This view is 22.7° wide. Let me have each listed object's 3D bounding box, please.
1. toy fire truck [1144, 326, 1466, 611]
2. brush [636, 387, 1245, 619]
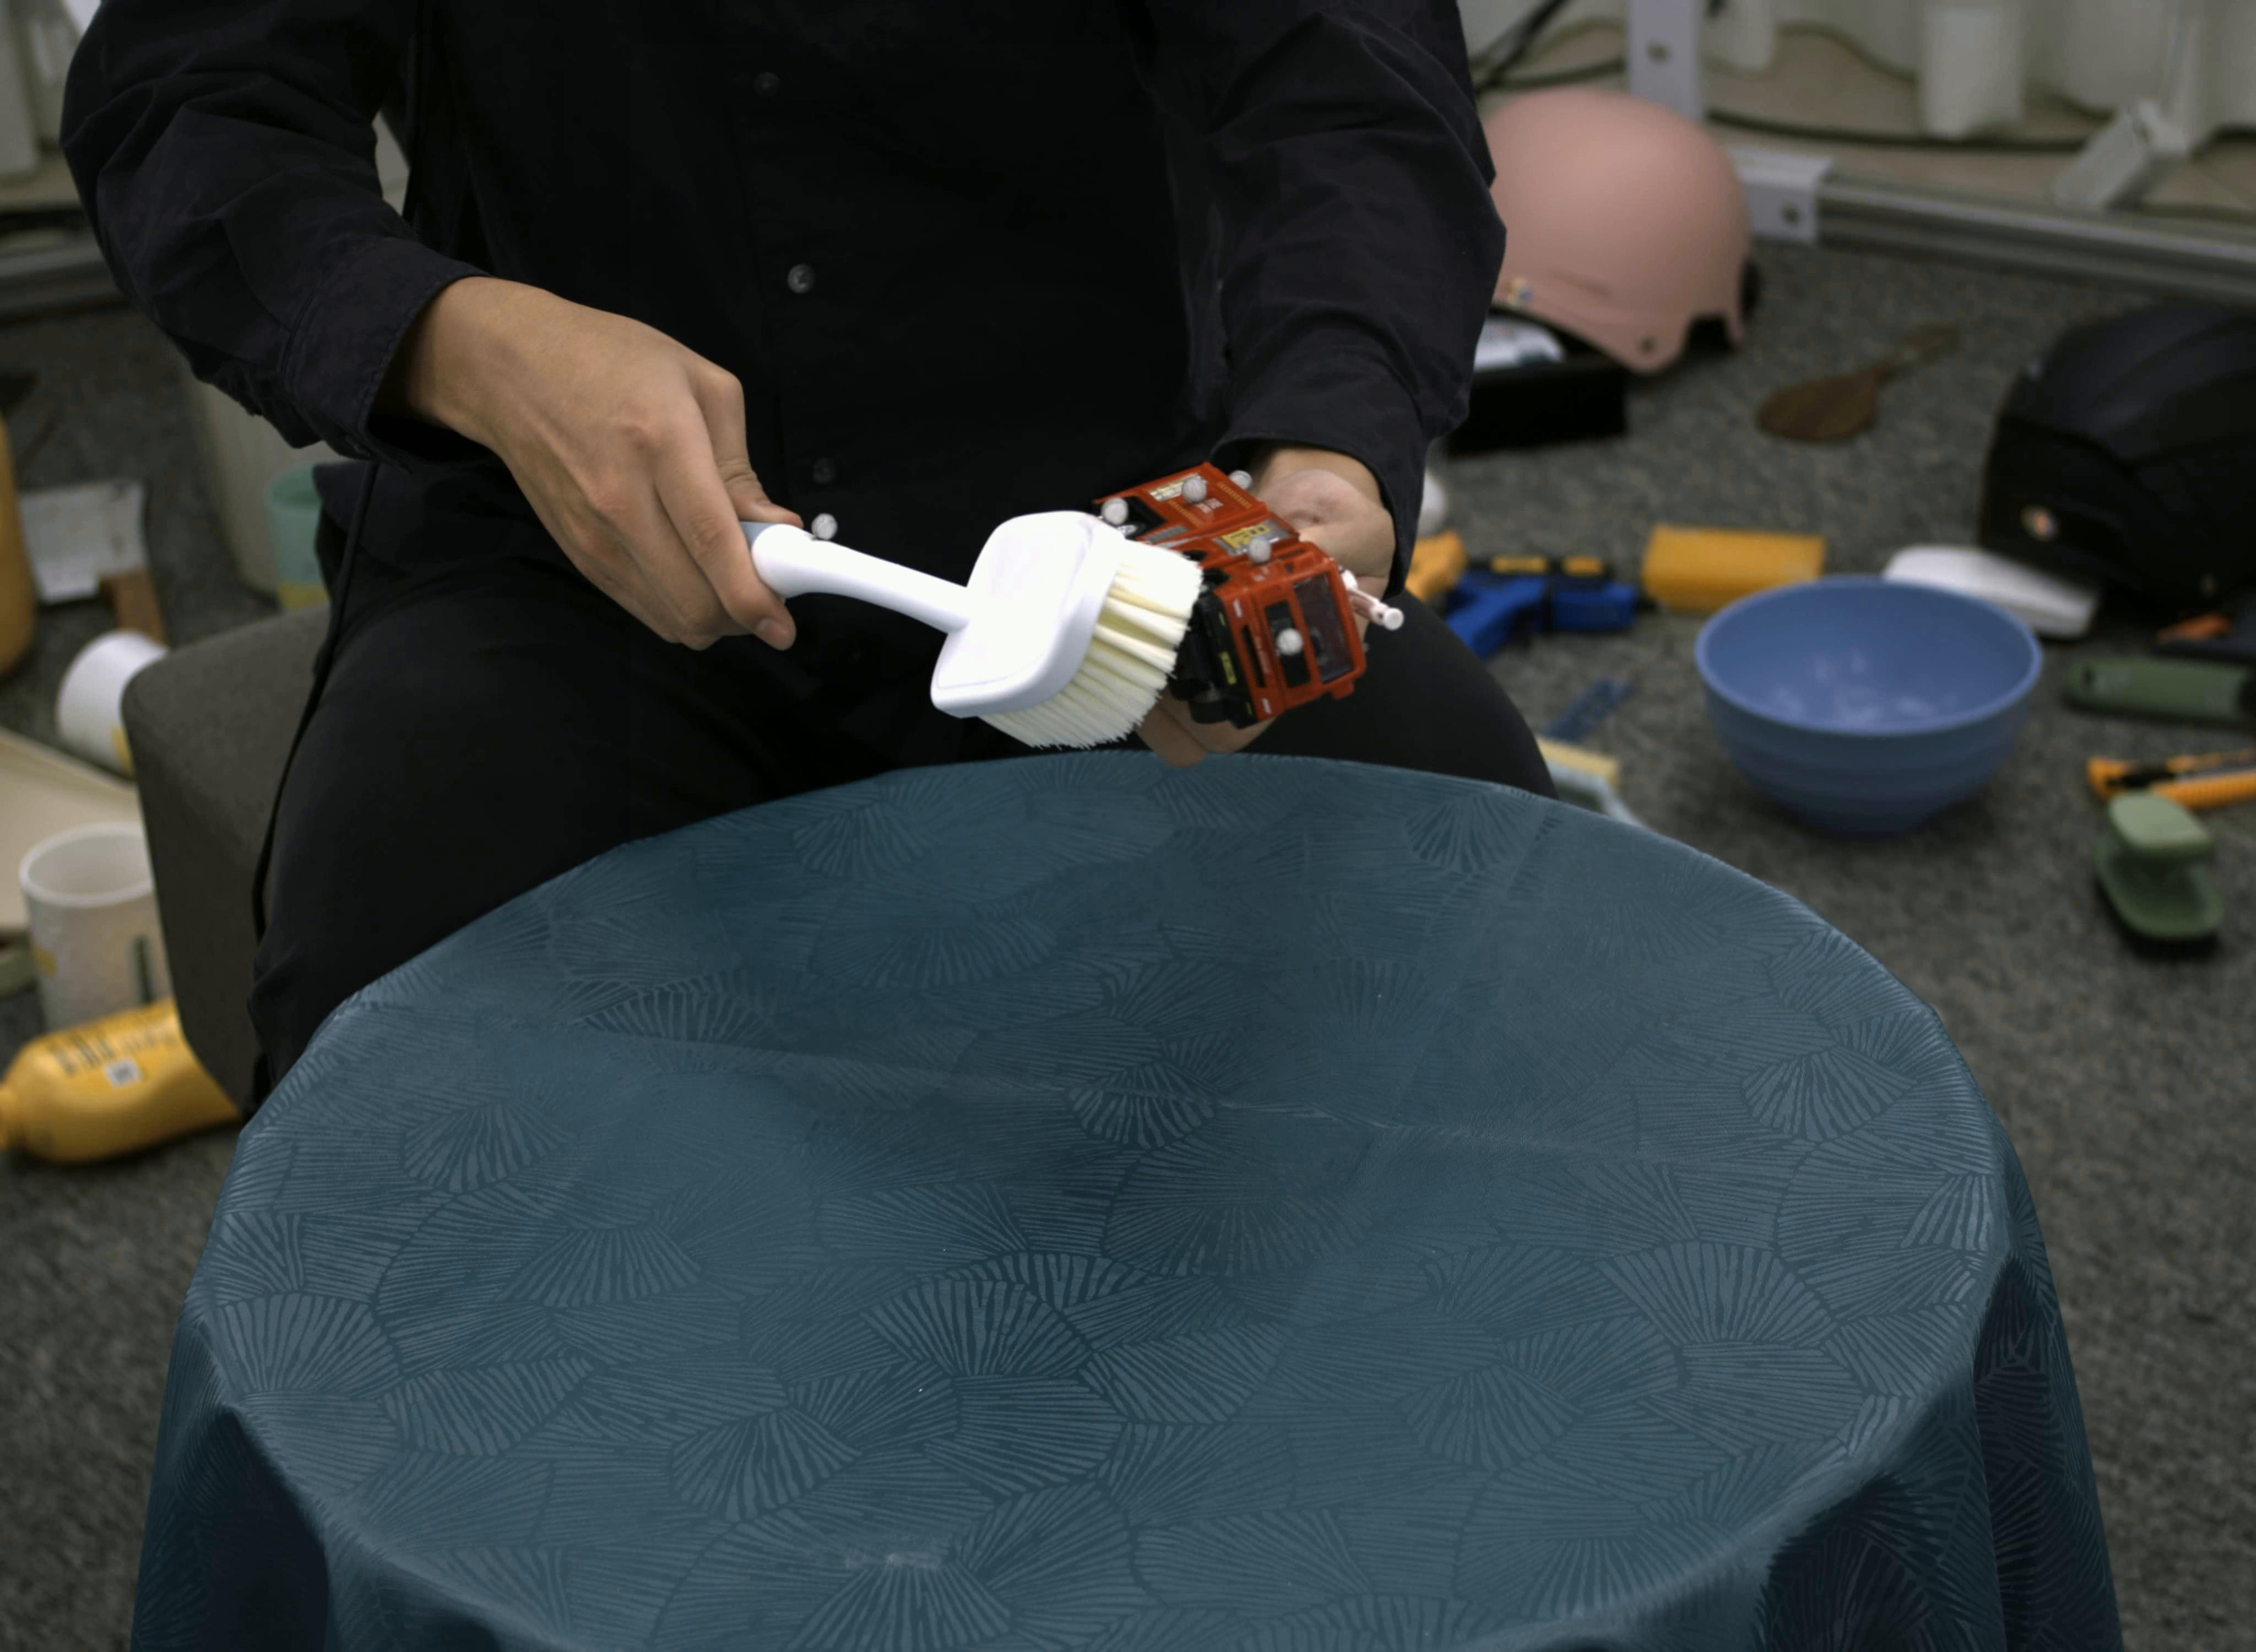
[{"bbox_3d":[0.052,-0.116,1.804,0.070,0.053,0.168,-21,19,-9],"label":"toy fire truck"},{"bbox_3d":[-0.052,-0.114,1.869,0.084,0.084,0.323,-37,23,-25],"label":"brush"}]
